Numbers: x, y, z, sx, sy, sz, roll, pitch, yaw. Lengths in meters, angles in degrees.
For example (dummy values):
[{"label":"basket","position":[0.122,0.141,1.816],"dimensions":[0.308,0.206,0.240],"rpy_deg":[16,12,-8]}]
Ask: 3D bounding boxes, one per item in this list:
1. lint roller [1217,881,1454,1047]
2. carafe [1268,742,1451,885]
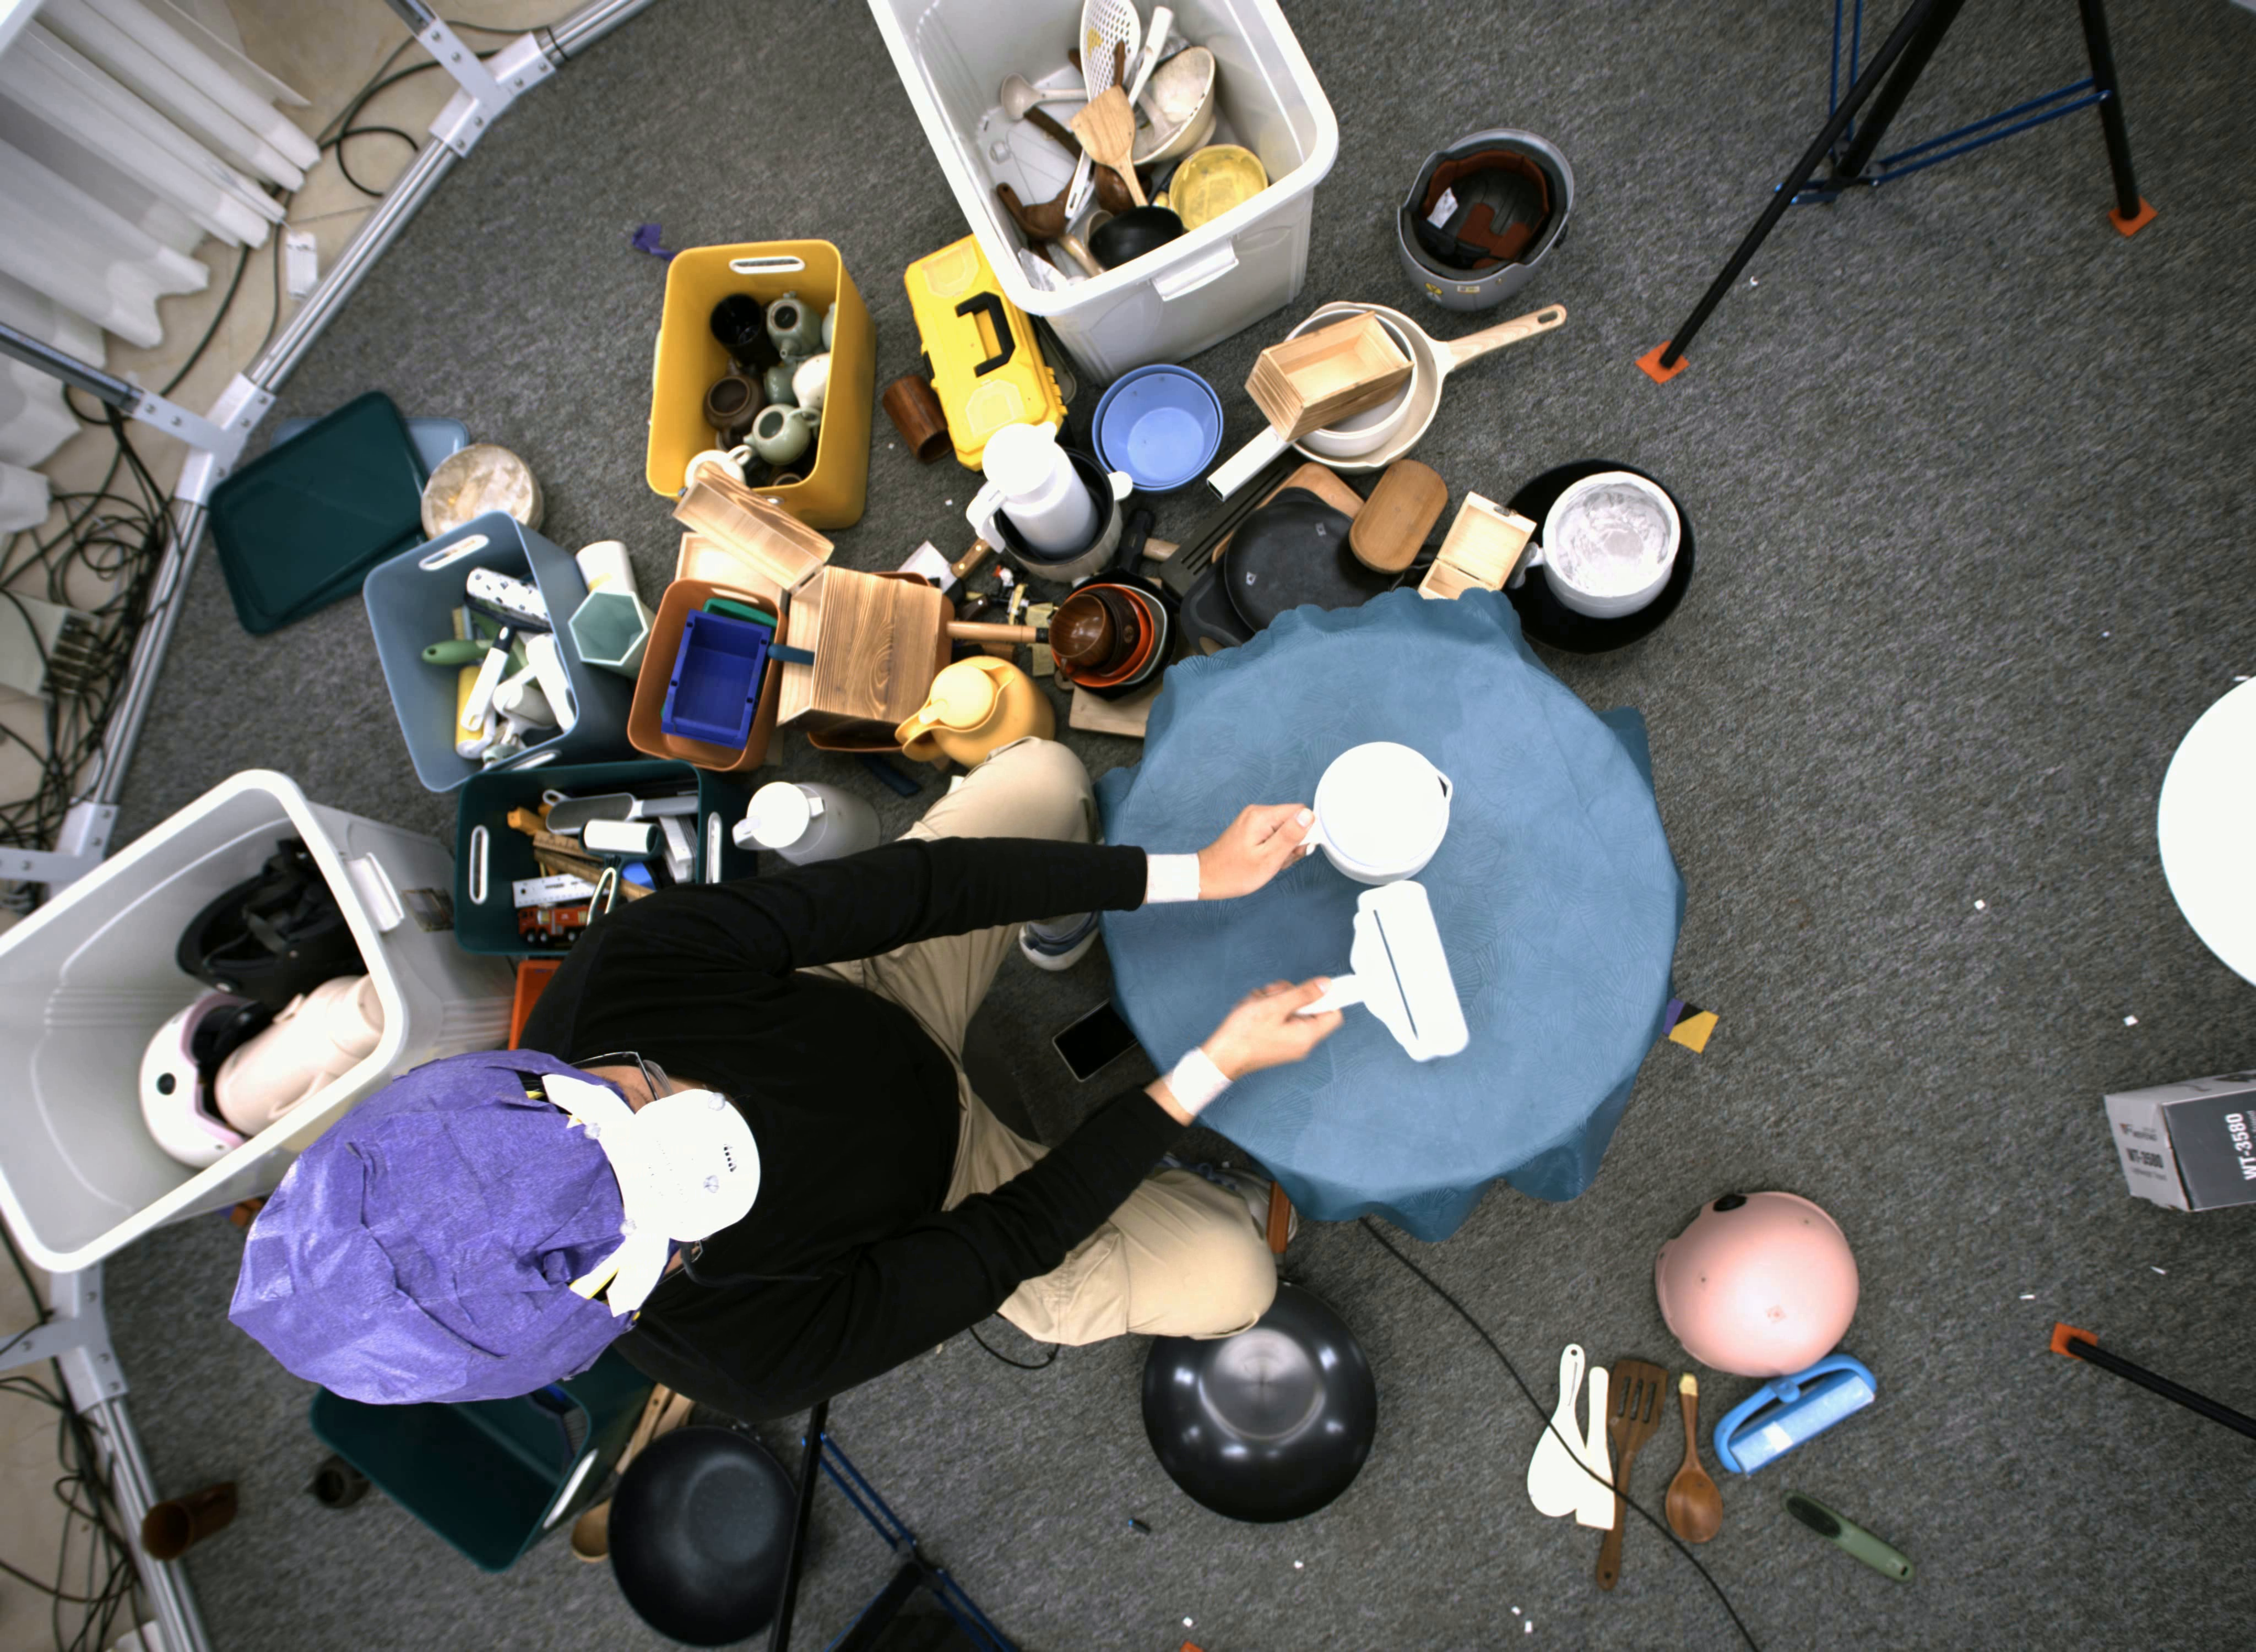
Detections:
[{"label":"lint roller","position":[0.196,0.164,1.360],"dimensions":[0.227,0.206,0.047],"rpy_deg":[-20,39,9]},{"label":"carafe","position":[0.230,-0.004,1.385],"dimensions":[0.192,0.182,0.131],"rpy_deg":[-19,81,10]}]
